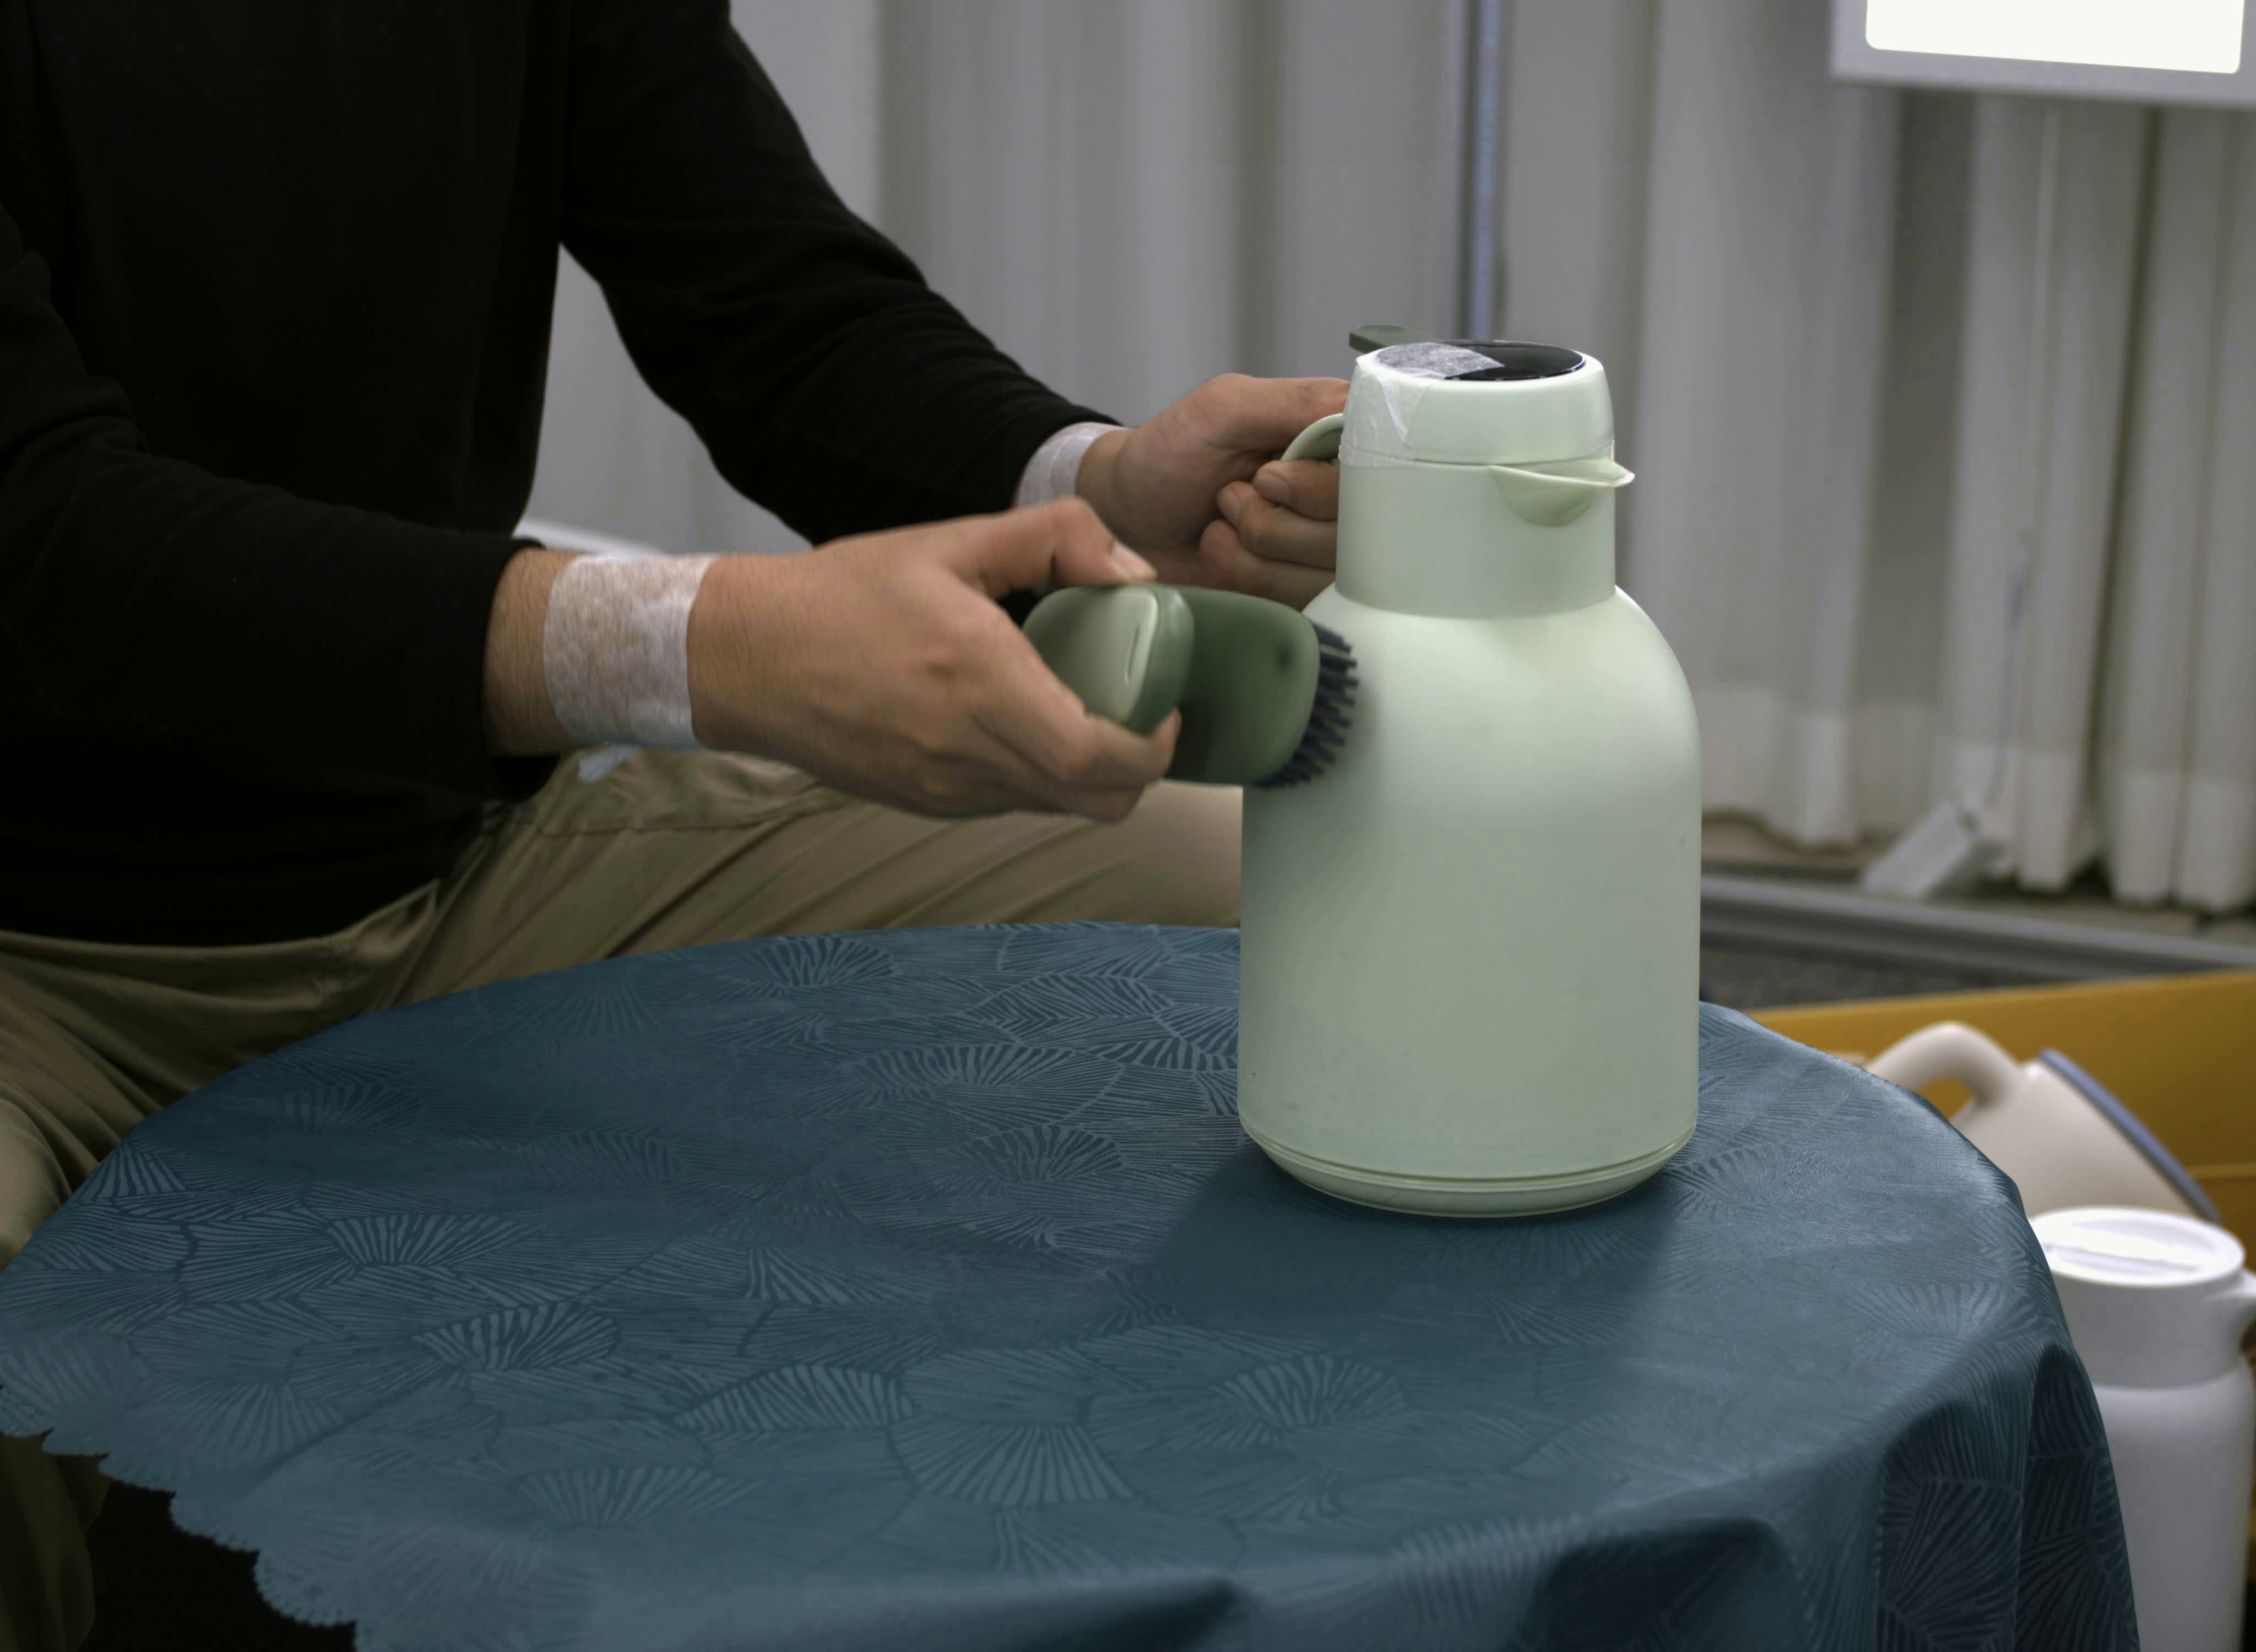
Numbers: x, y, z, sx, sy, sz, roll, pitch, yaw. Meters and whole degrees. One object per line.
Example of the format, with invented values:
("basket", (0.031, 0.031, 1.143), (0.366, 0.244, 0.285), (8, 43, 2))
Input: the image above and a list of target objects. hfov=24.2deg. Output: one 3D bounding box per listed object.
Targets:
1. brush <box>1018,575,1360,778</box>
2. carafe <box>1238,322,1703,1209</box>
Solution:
("brush", (0.016, -0.046, 1.569), (0.076, 0.060, 0.122), (12, -3, -22))
("carafe", (0.099, -0.024, 1.633), (0.145, 0.259, 0.184), (-9, 16, -28))
